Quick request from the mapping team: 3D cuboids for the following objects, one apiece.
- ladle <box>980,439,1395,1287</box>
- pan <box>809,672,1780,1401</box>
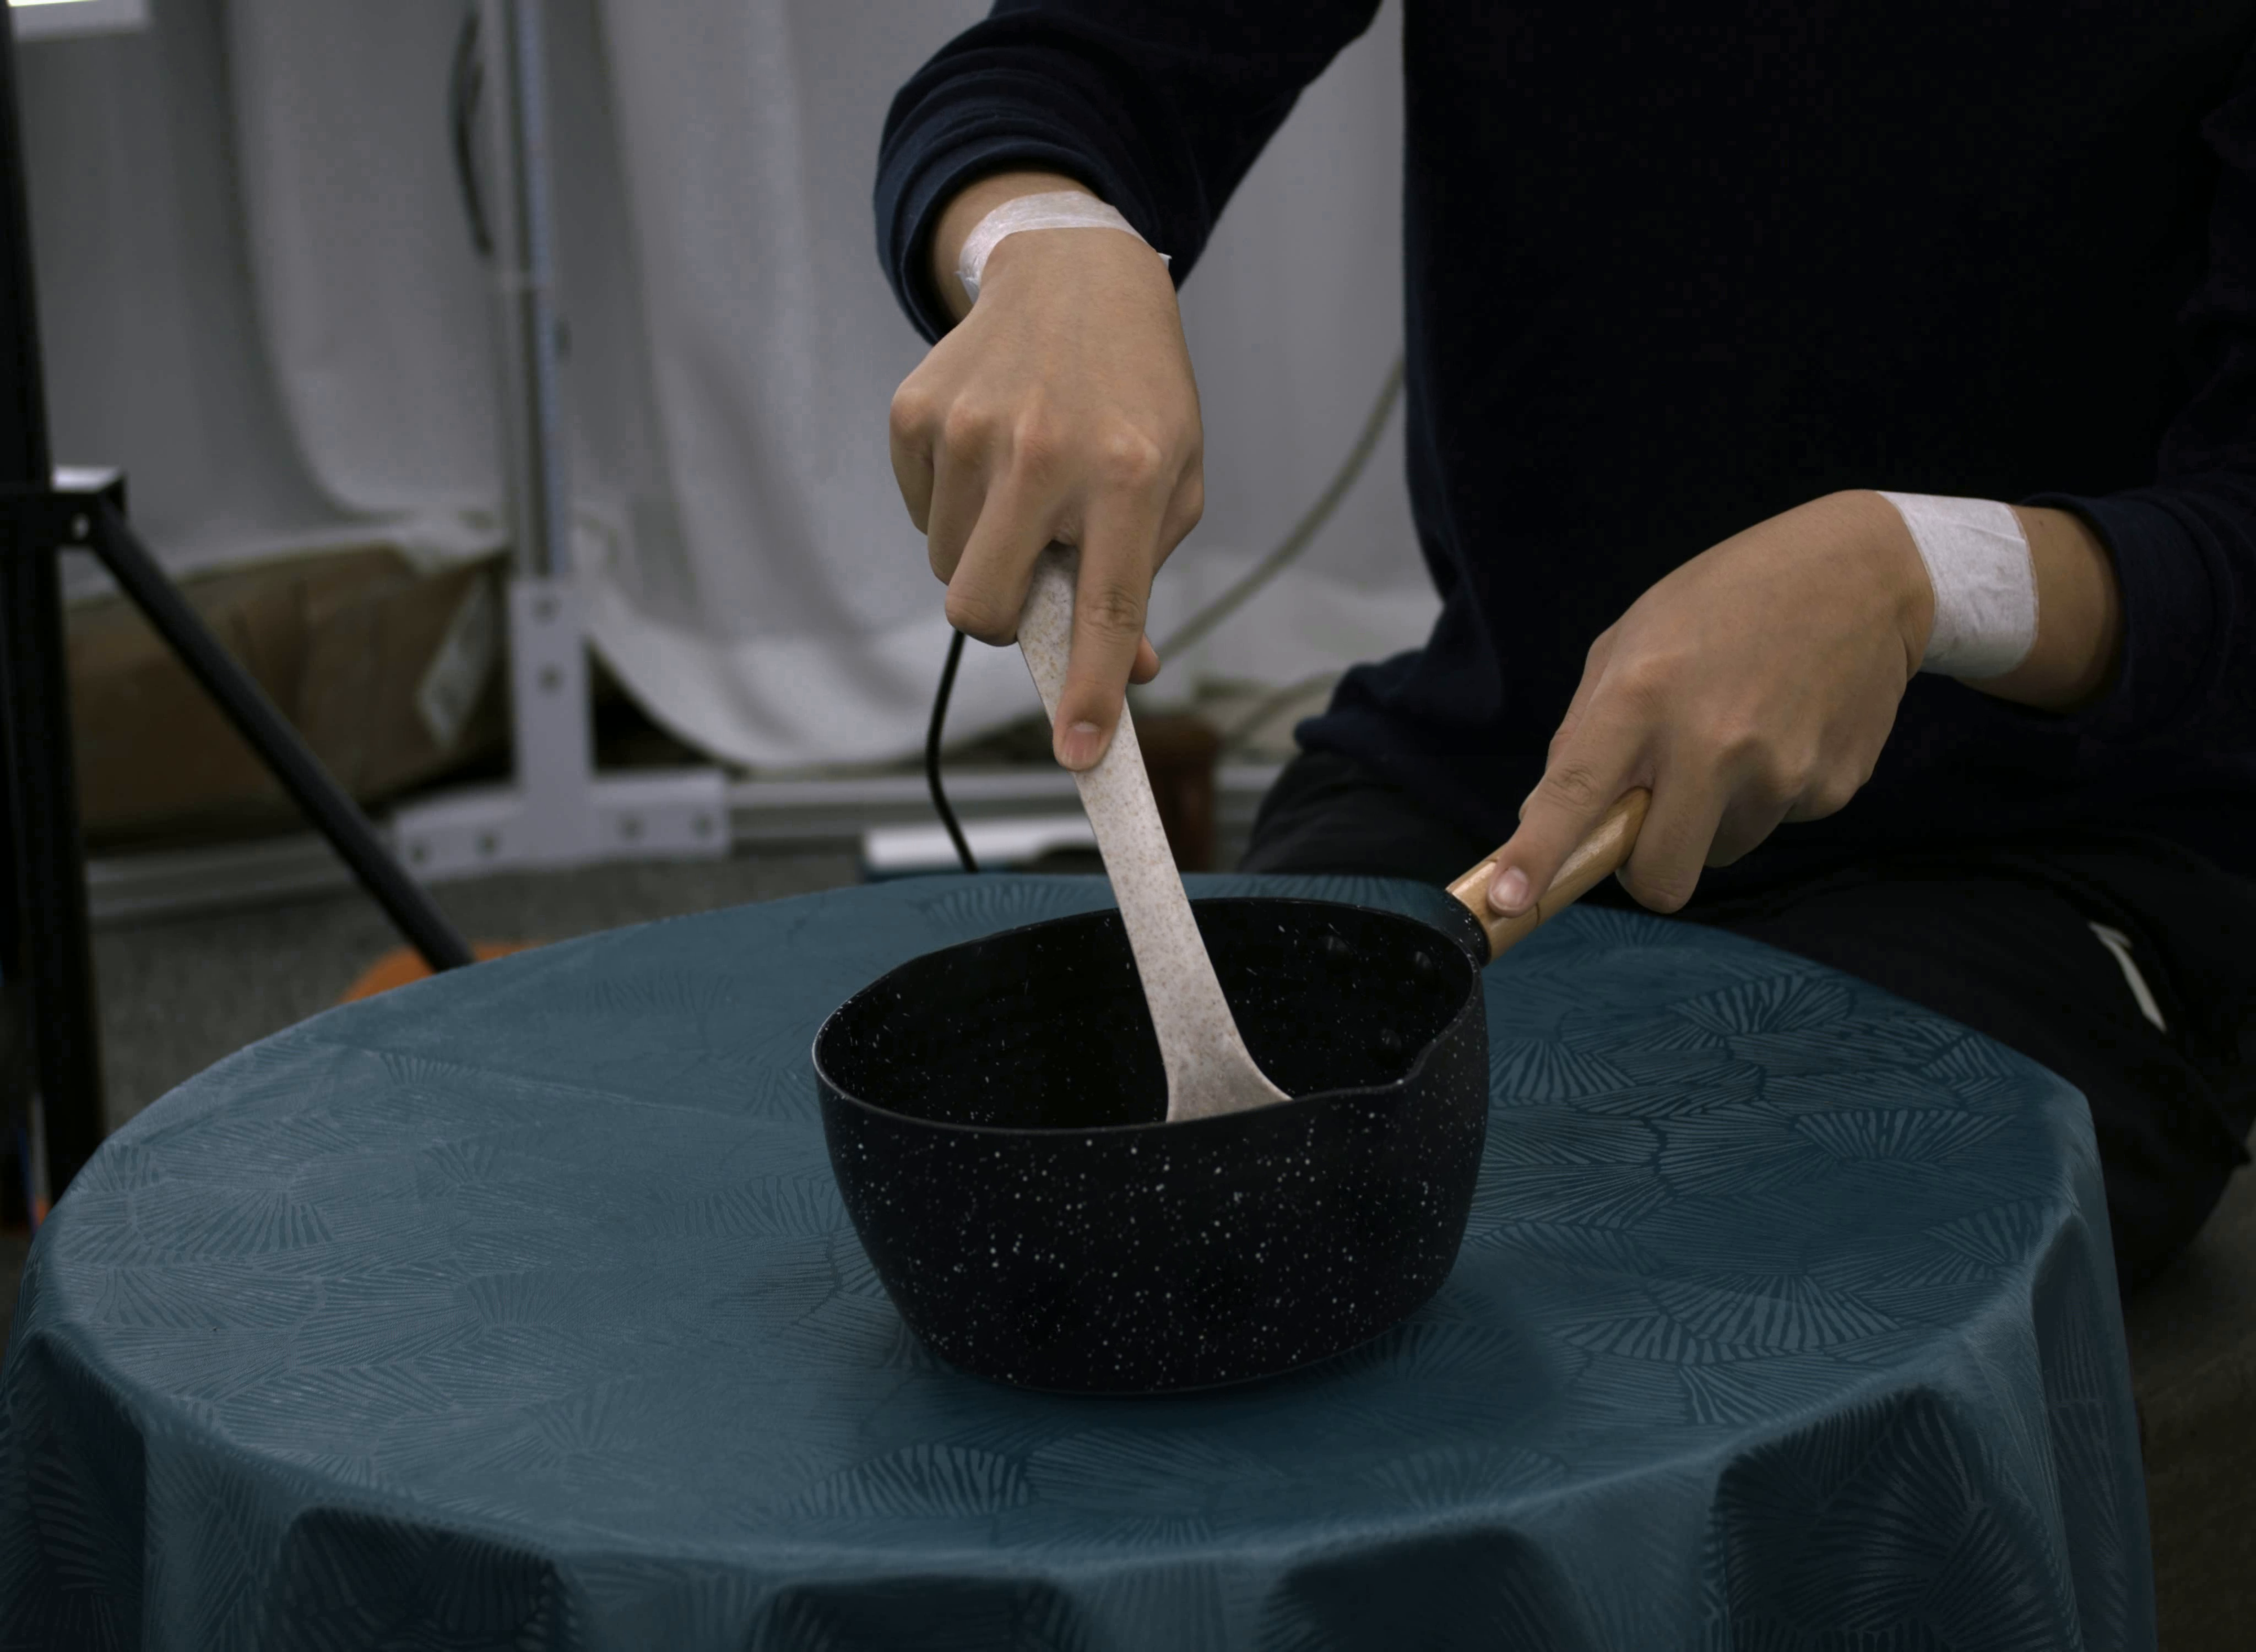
[{"bbox_3d":[0.004,0.006,1.458,0.089,0.278,0.068,-19,-18,2],"label":"ladle"},{"bbox_3d":[0.066,0.055,1.495,0.336,0.108,0.212,-23,21,-37],"label":"pan"}]
